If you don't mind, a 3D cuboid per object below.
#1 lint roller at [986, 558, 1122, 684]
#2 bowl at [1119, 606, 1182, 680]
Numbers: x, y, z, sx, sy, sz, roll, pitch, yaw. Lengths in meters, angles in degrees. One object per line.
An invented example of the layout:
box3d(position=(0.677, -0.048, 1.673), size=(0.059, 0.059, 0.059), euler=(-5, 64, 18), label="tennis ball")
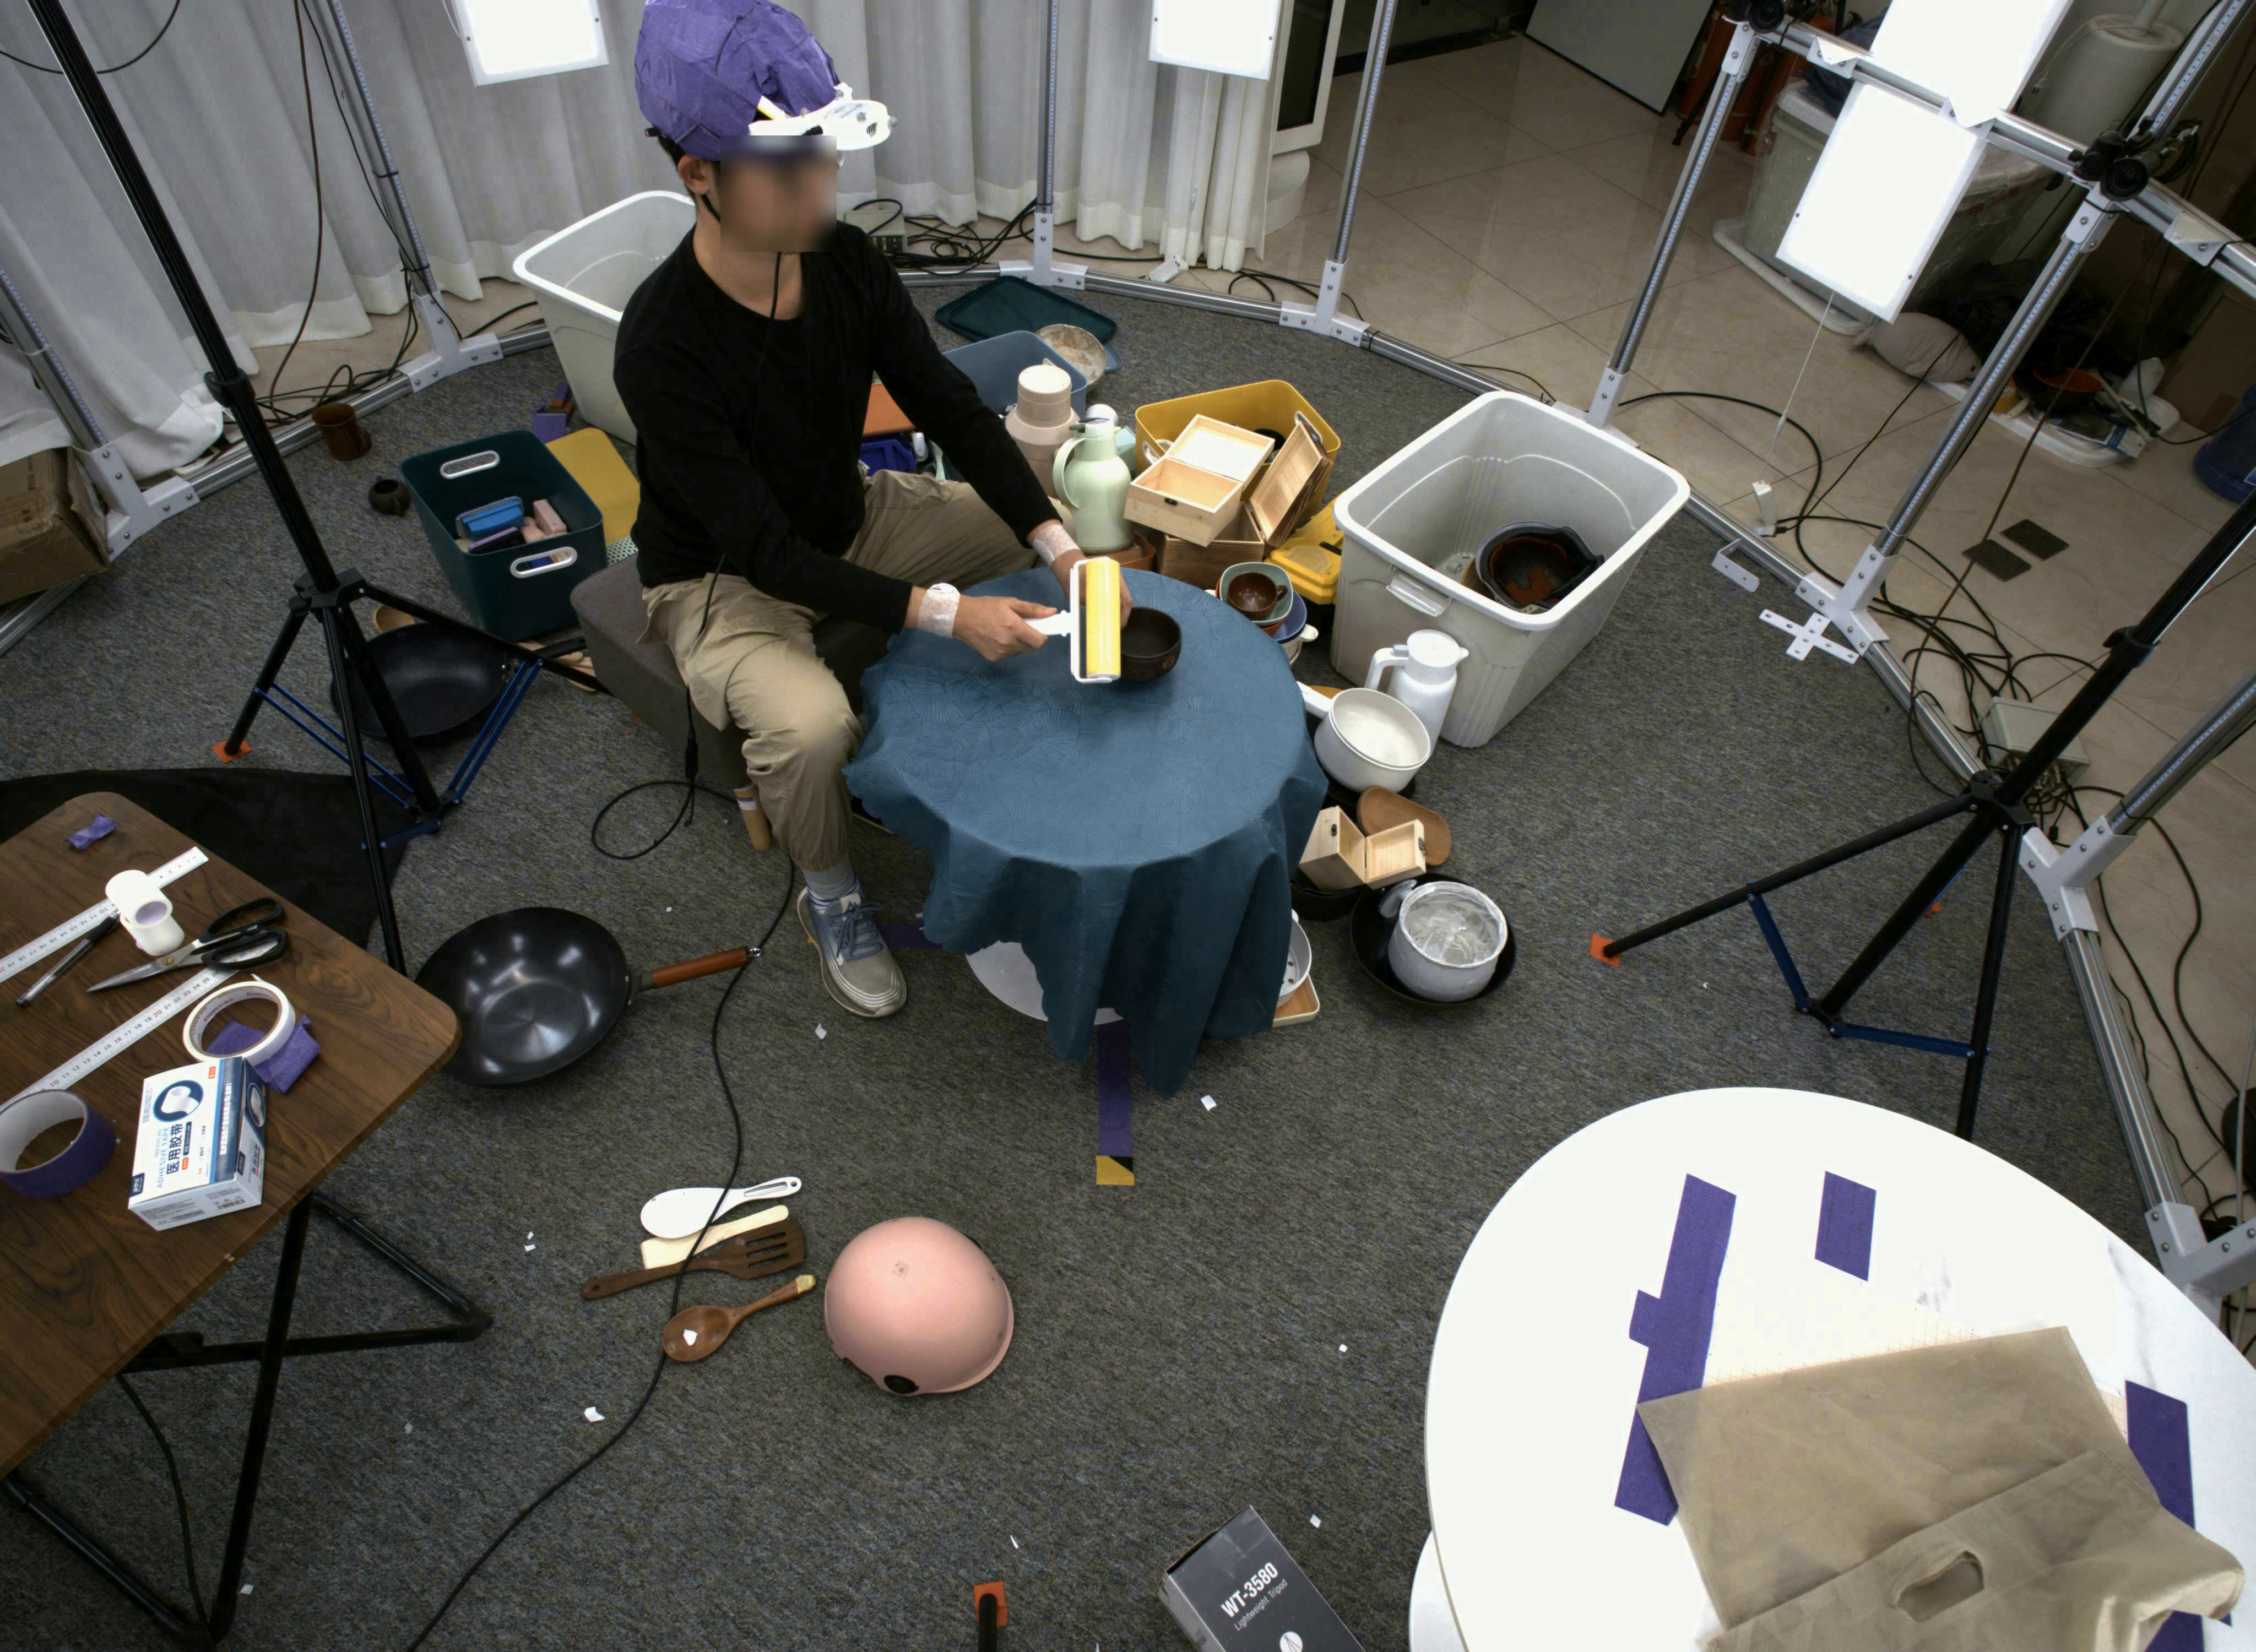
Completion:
box3d(position=(-0.106, -0.278, 1.782), size=(0.192, 0.051, 0.176), euler=(-3, 80, 6), label="lint roller")
box3d(position=(0.016, -0.254, 1.842), size=(0.118, 0.068, 0.121), euler=(3, 45, -3), label="bowl")
